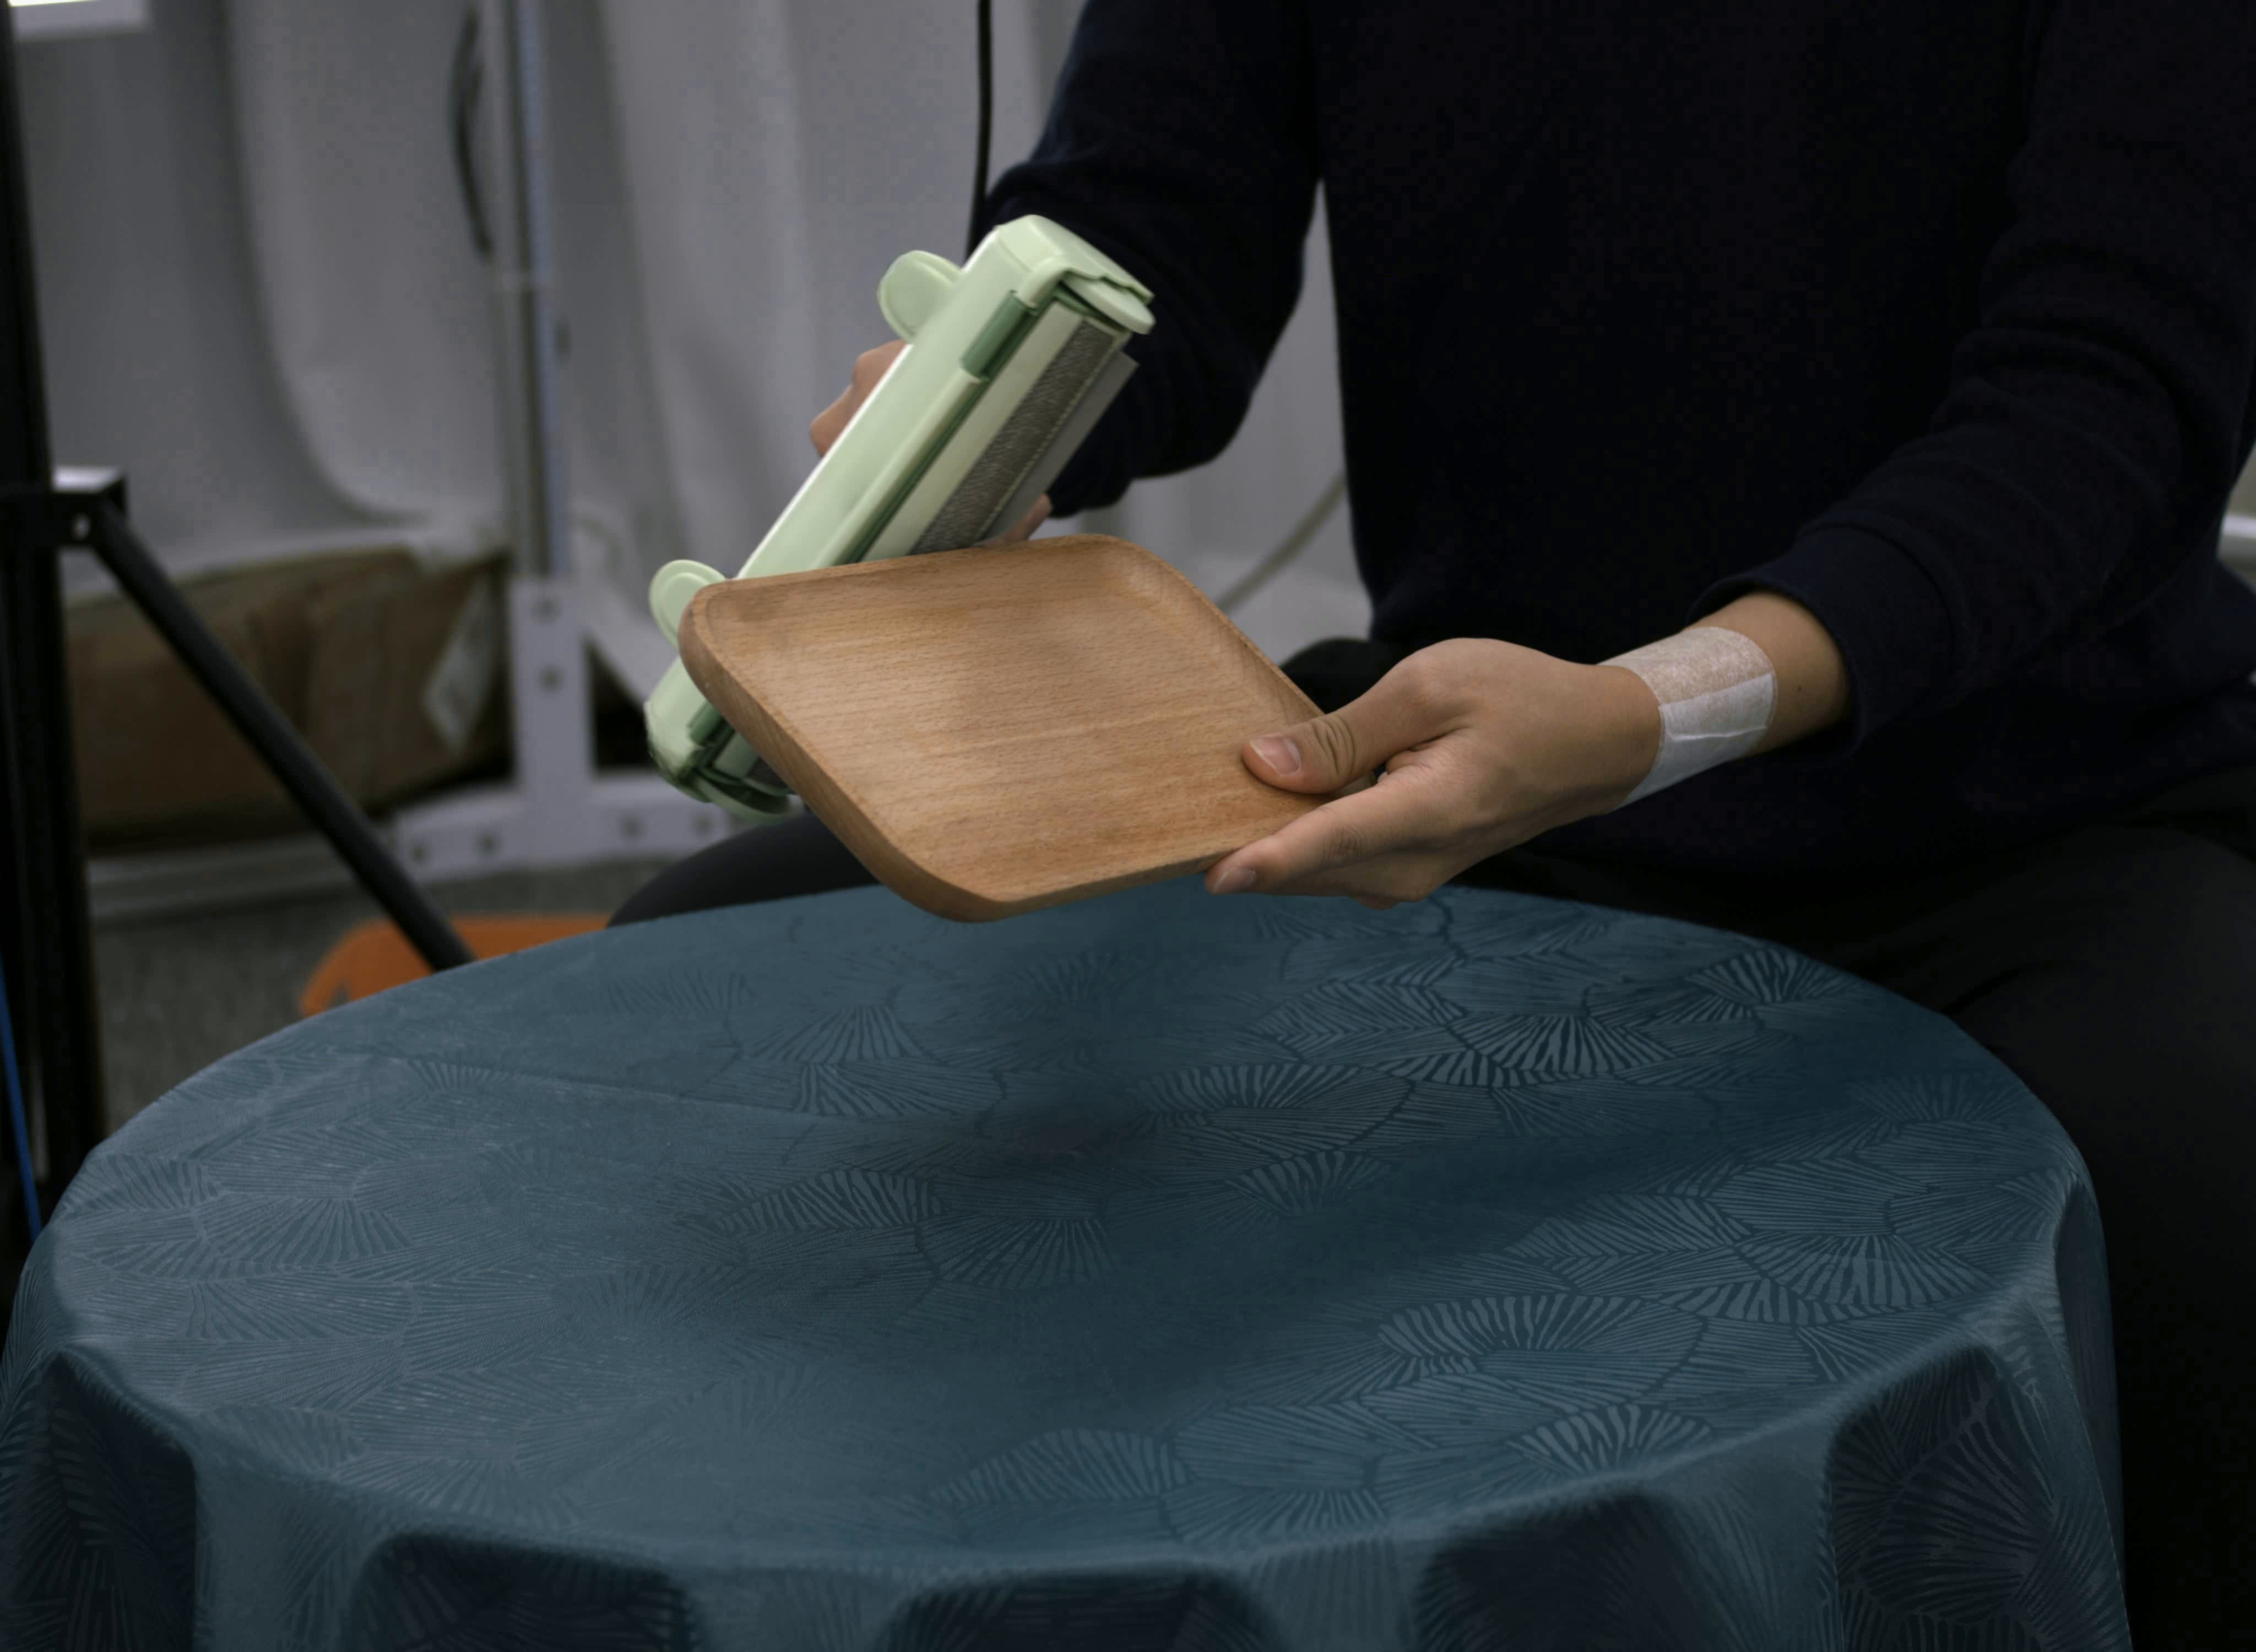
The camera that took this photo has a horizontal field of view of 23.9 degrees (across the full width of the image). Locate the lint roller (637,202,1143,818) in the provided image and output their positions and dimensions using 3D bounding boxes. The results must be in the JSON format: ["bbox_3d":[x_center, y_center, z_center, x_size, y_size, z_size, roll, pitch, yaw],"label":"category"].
[{"bbox_3d":[-0.076,-0.109,1.615,0.081,0.199,0.184,36,12,-8],"label":"lint roller"}]

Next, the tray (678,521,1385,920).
[{"bbox_3d":[-0.024,-0.032,1.505,0.132,0.023,0.245,48,28,19],"label":"tray"}]
